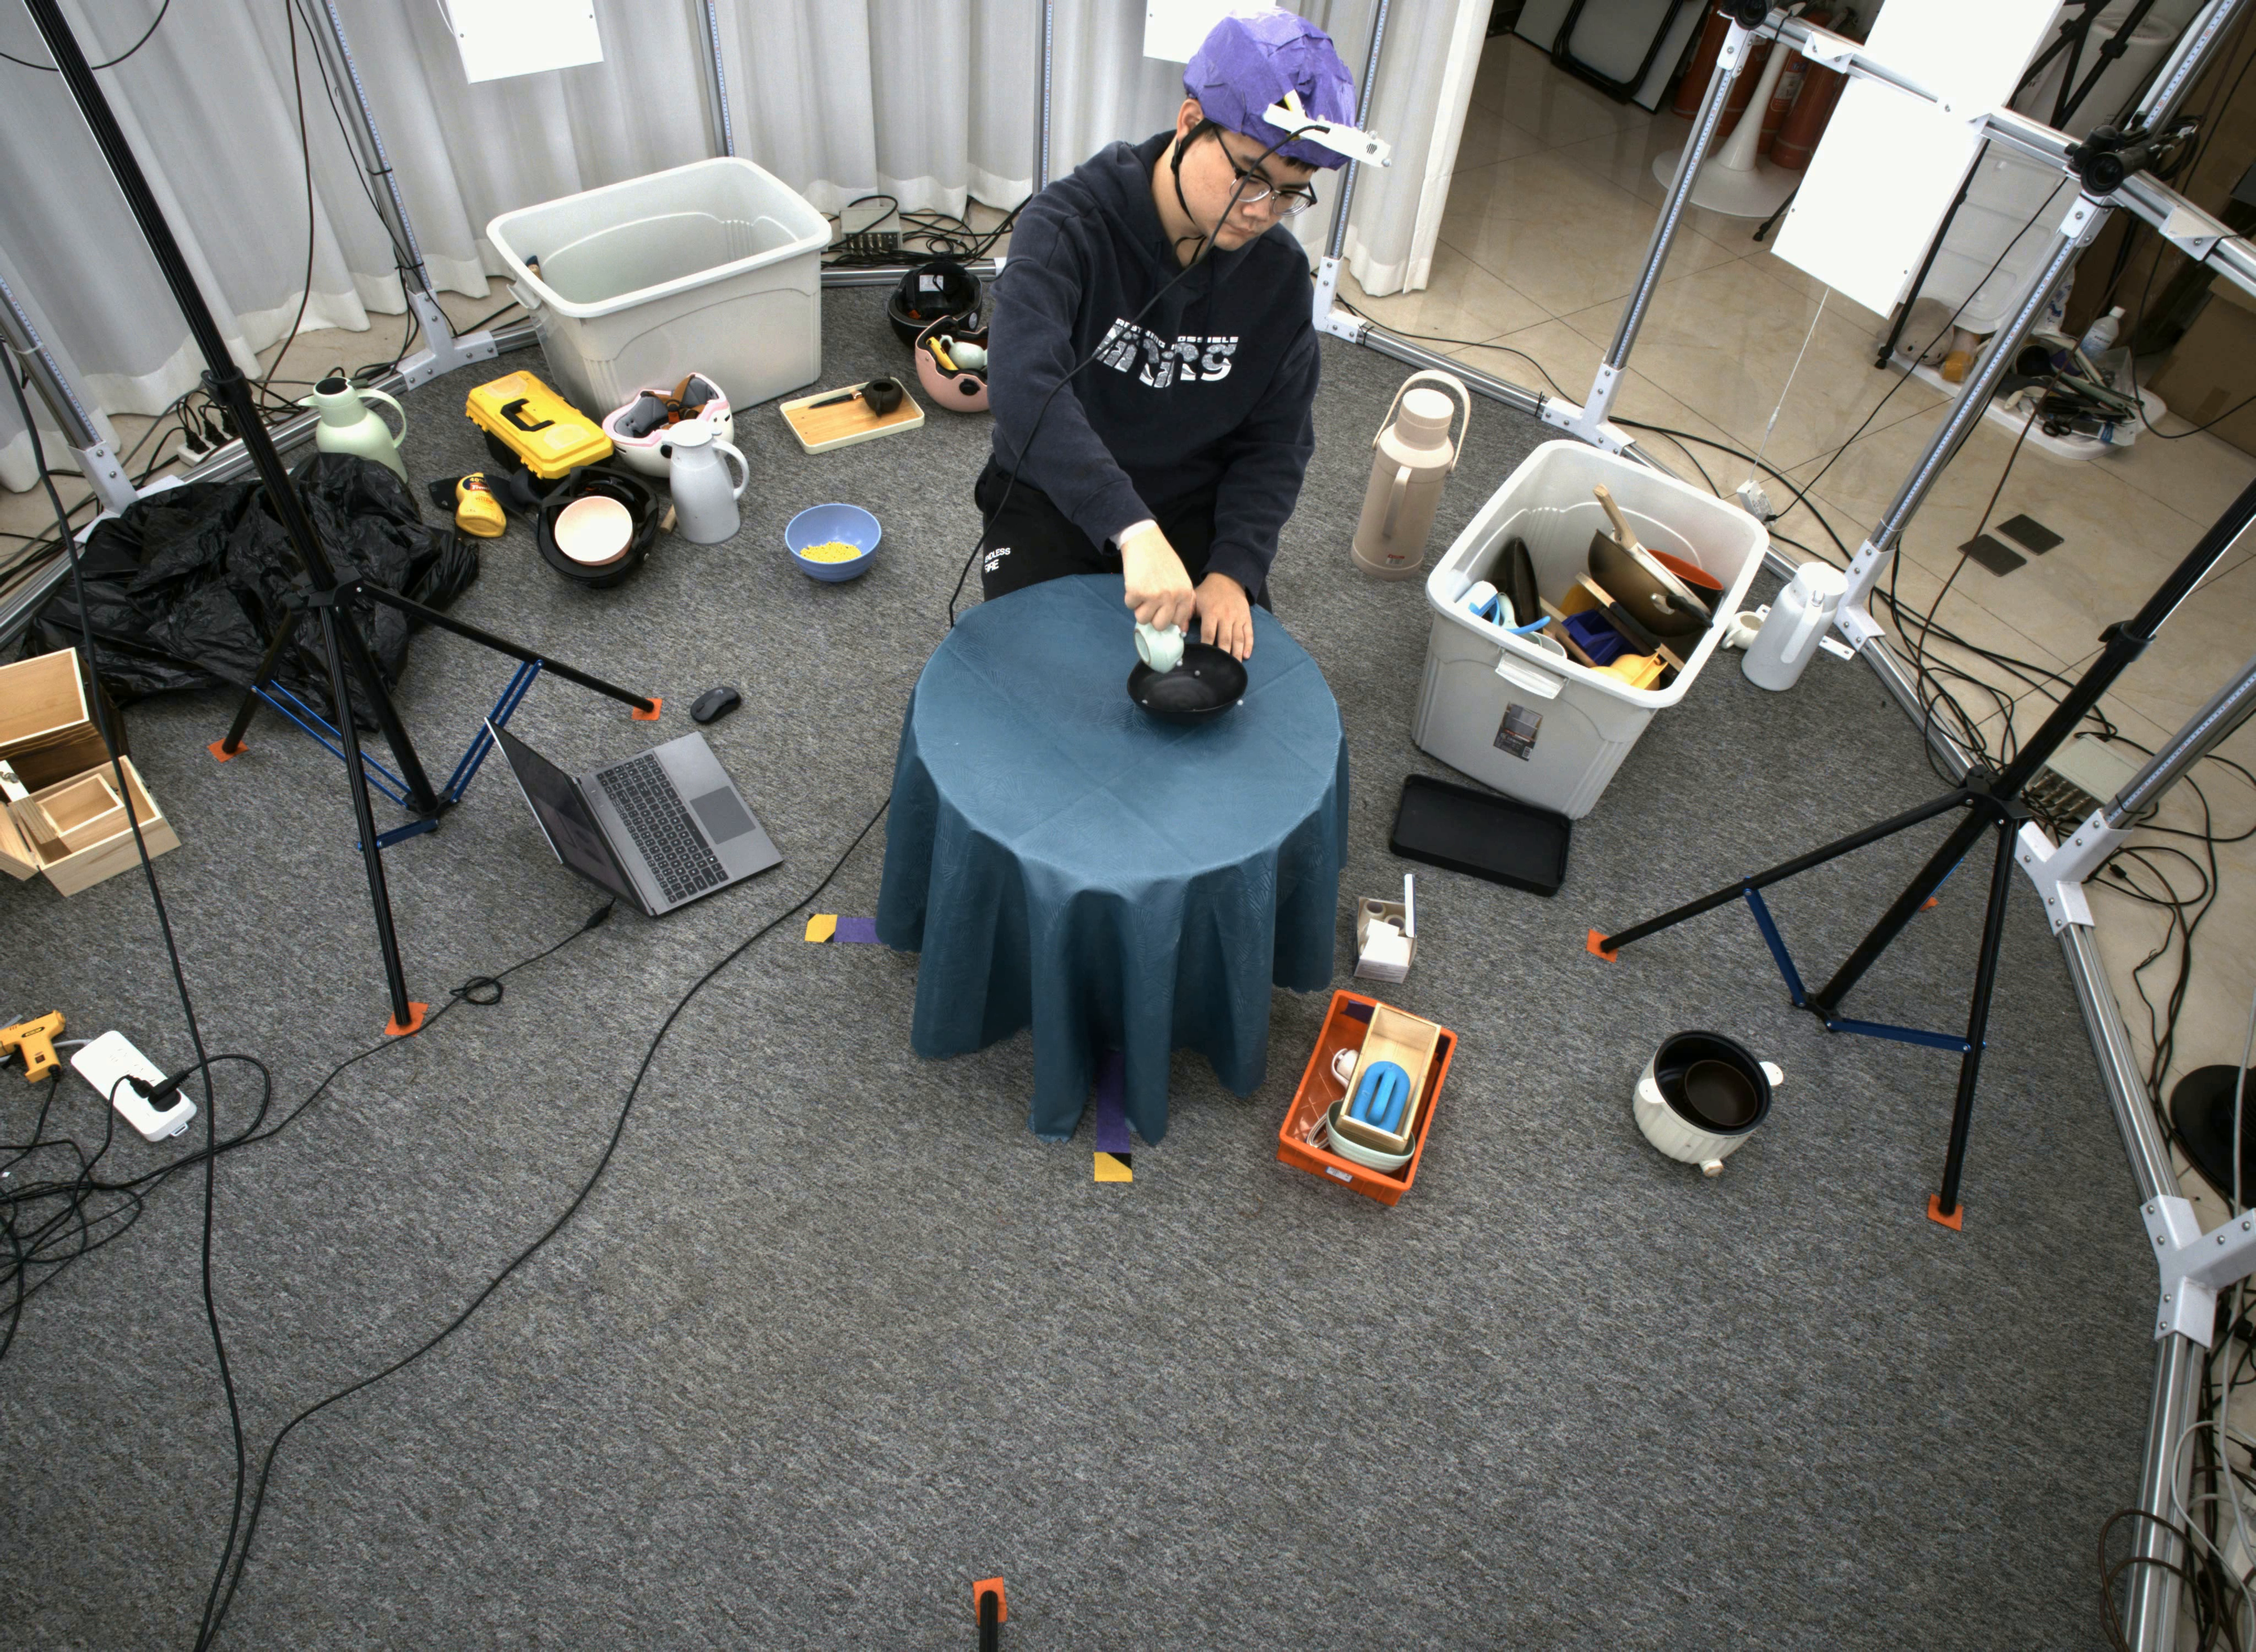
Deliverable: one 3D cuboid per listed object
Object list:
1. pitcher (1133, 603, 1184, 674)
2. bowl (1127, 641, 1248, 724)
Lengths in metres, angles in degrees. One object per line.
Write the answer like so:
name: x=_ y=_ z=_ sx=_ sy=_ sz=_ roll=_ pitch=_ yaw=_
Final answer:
pitcher: x=0.043 y=-0.251 z=1.691 sx=0.060 sy=0.105 sz=0.088 roll=-22 pitch=61 yaw=-13
bowl: x=0.083 y=-0.188 z=1.794 sx=0.170 sy=0.065 sz=0.141 roll=-9 pitch=50 yaw=-11
